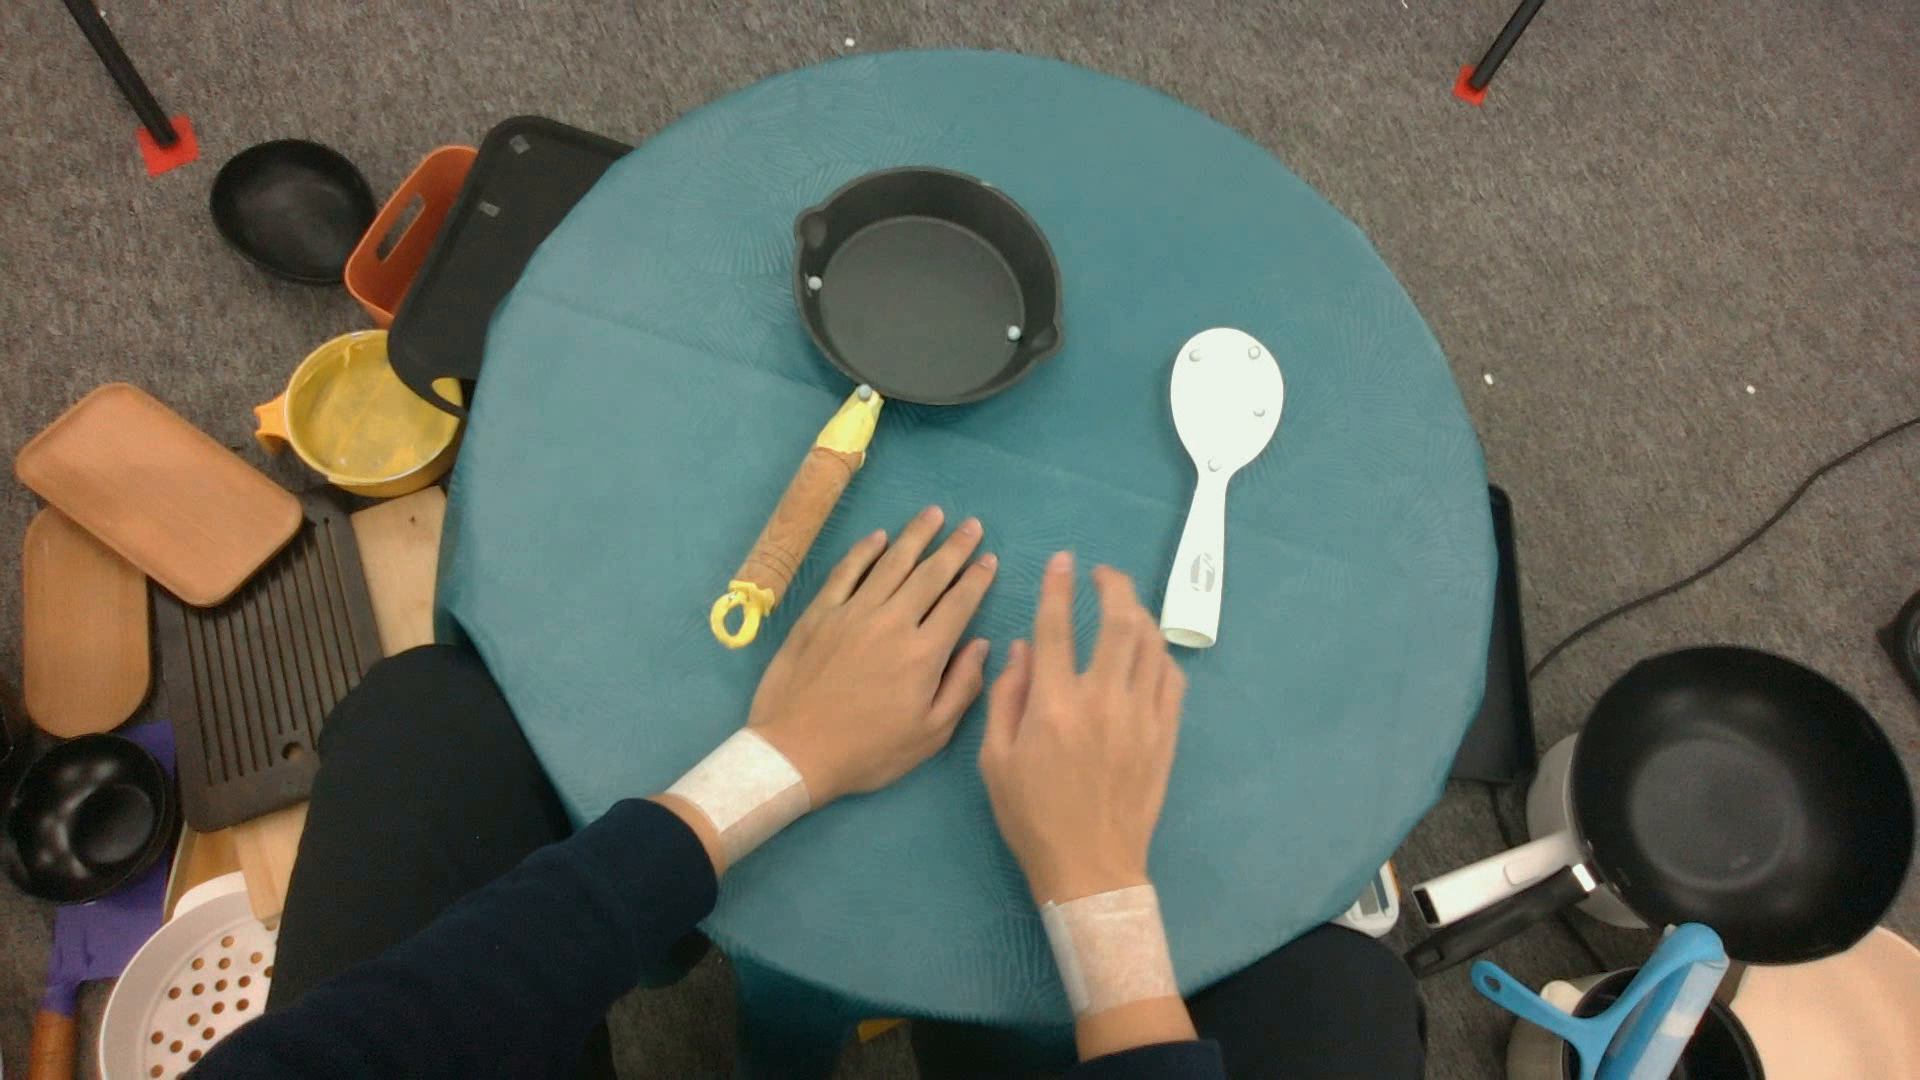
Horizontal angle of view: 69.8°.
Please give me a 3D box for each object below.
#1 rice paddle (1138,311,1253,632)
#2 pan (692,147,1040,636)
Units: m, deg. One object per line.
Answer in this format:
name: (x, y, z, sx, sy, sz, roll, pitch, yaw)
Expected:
rice paddle: (0.134, -0.047, 0.801, 0.069, 0.029, 0.206, 5, 67, 5)
pan: (-0.067, -0.086, 0.763, 0.169, 0.049, 0.325, 27, 66, 0)
